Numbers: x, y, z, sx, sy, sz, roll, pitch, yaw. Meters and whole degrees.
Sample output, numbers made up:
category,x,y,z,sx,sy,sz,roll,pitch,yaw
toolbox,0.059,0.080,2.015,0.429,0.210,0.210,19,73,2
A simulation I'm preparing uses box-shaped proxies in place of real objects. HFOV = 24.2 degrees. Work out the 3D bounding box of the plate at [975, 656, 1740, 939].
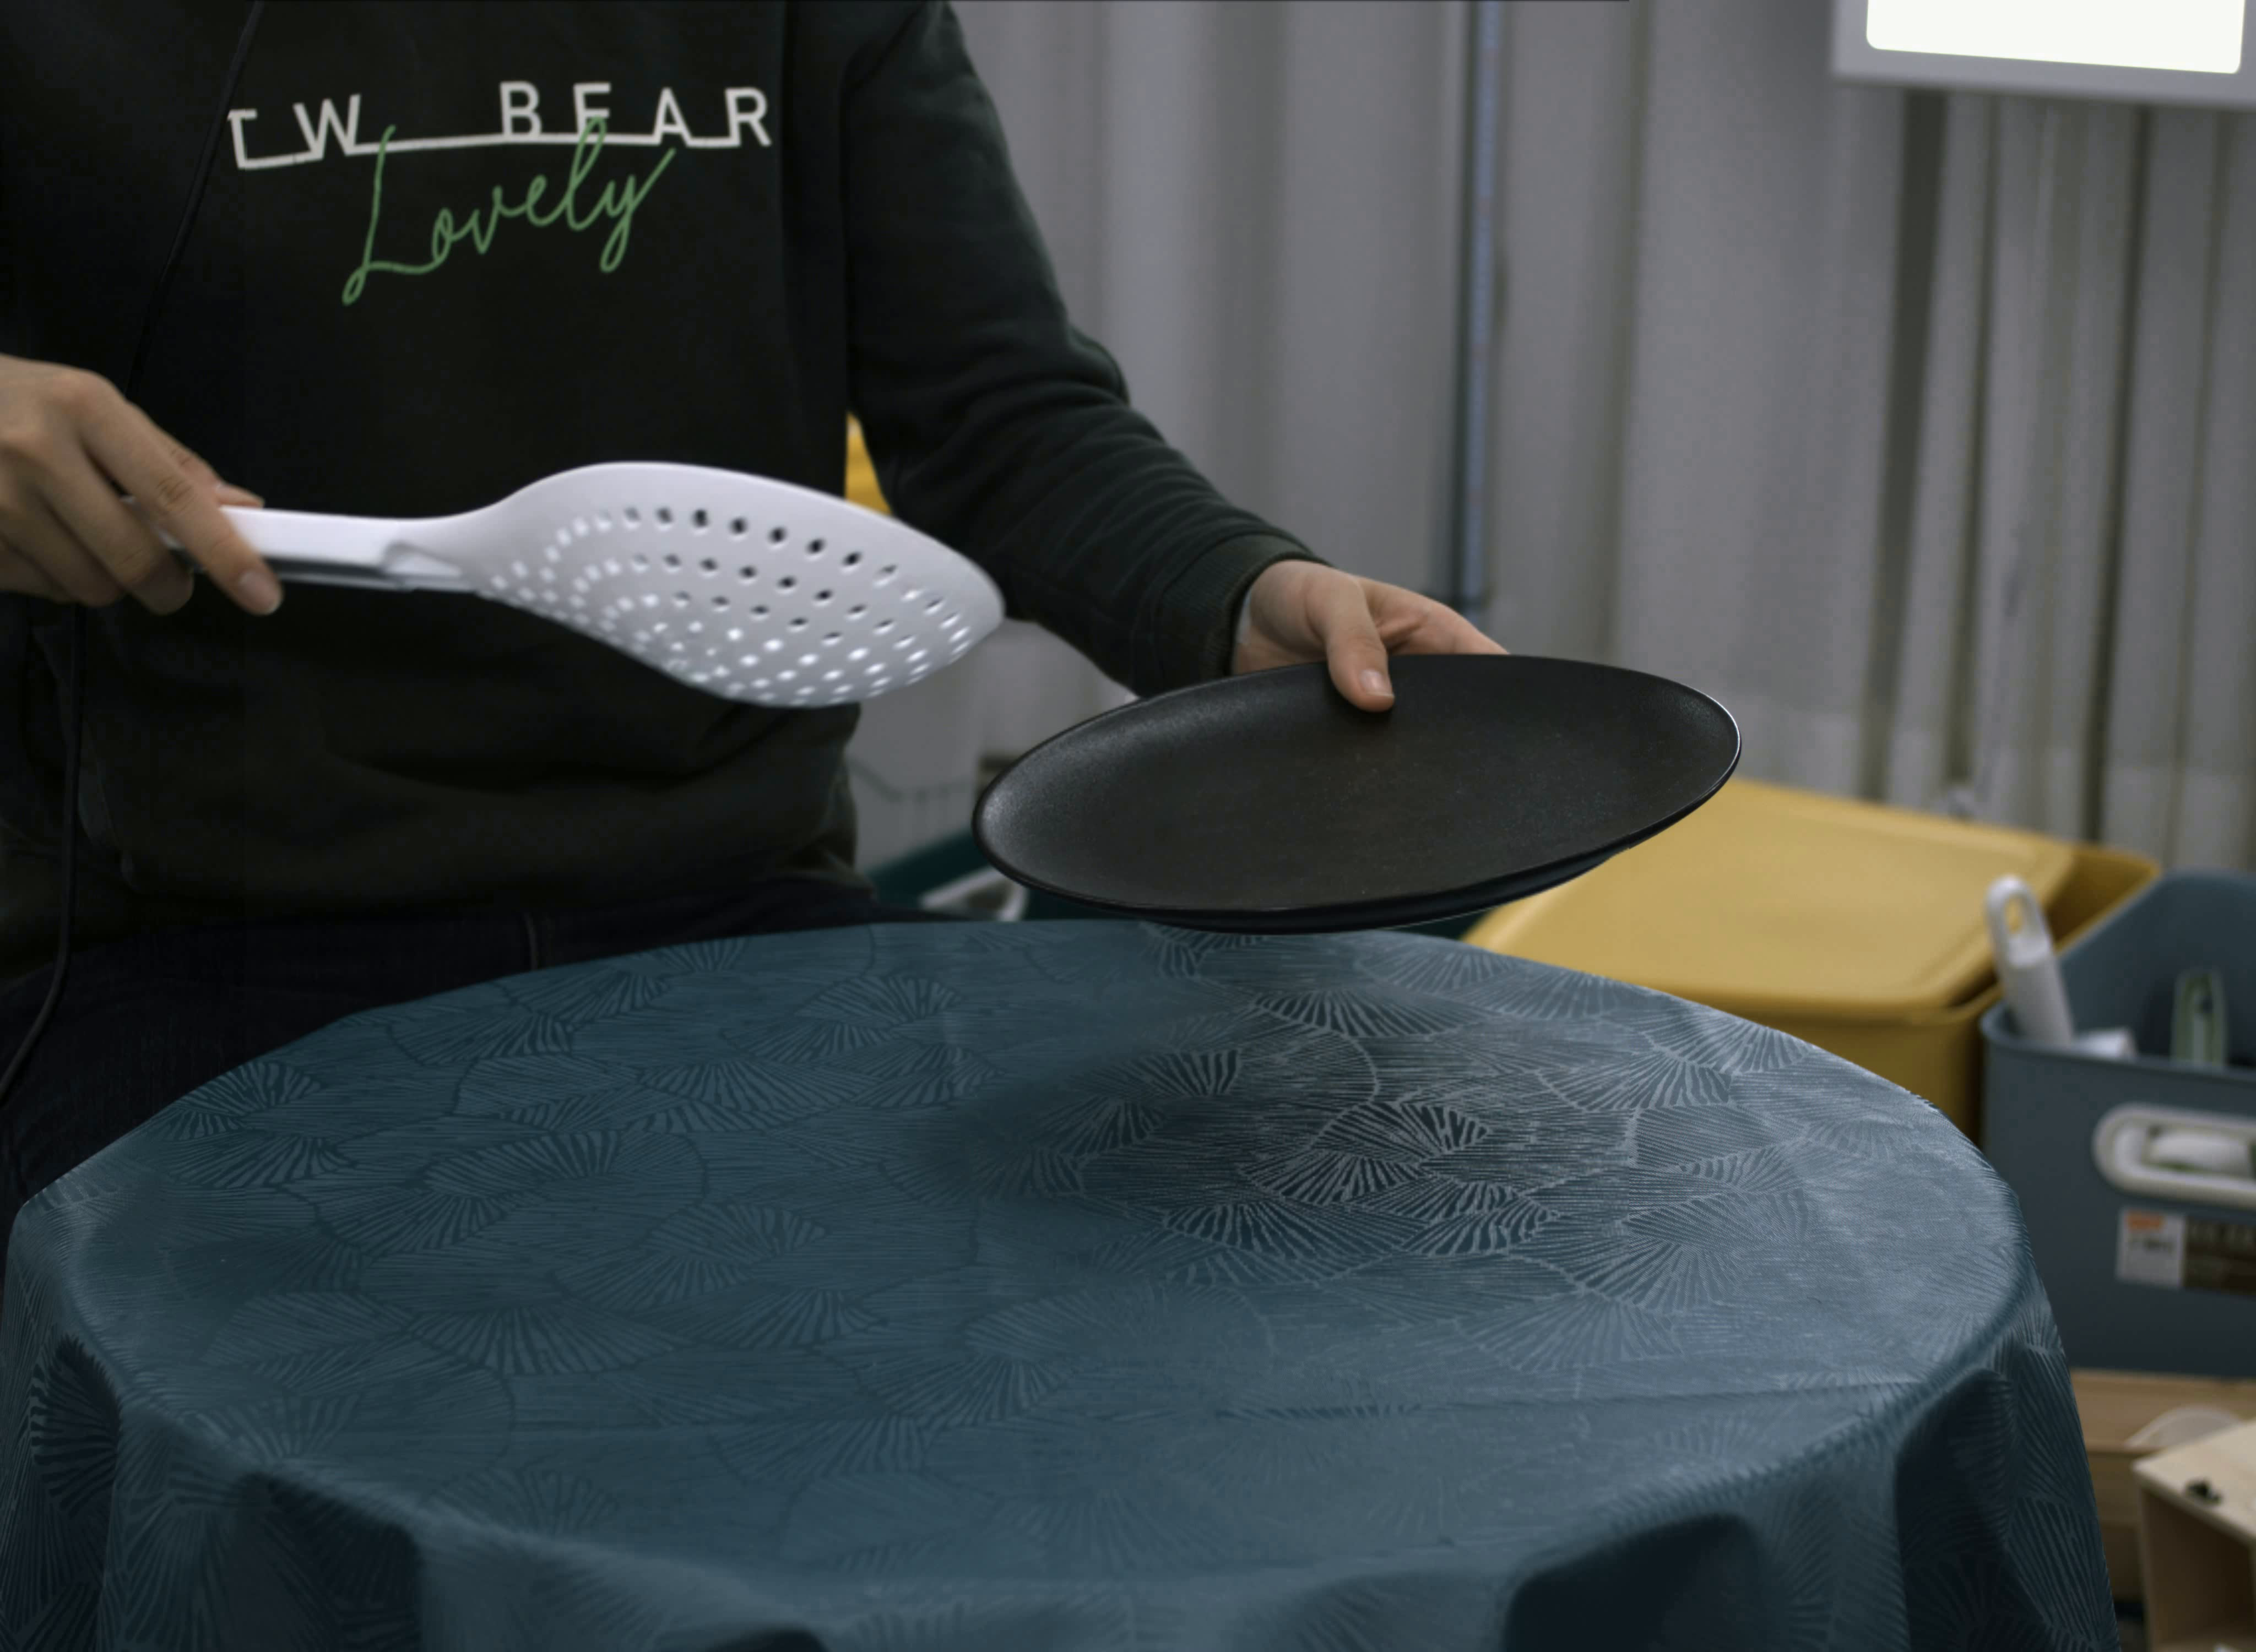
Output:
category,x,y,z,sx,sy,sz,roll,pitch,yaw
plate,0.073,-0.007,1.664,0.243,0.023,0.243,-6,19,3

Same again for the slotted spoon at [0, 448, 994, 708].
category,x,y,z,sx,sy,sz,roll,pitch,yaw
slotted spoon,-0.201,-0.079,1.528,0.346,0.045,0.138,11,-17,27
